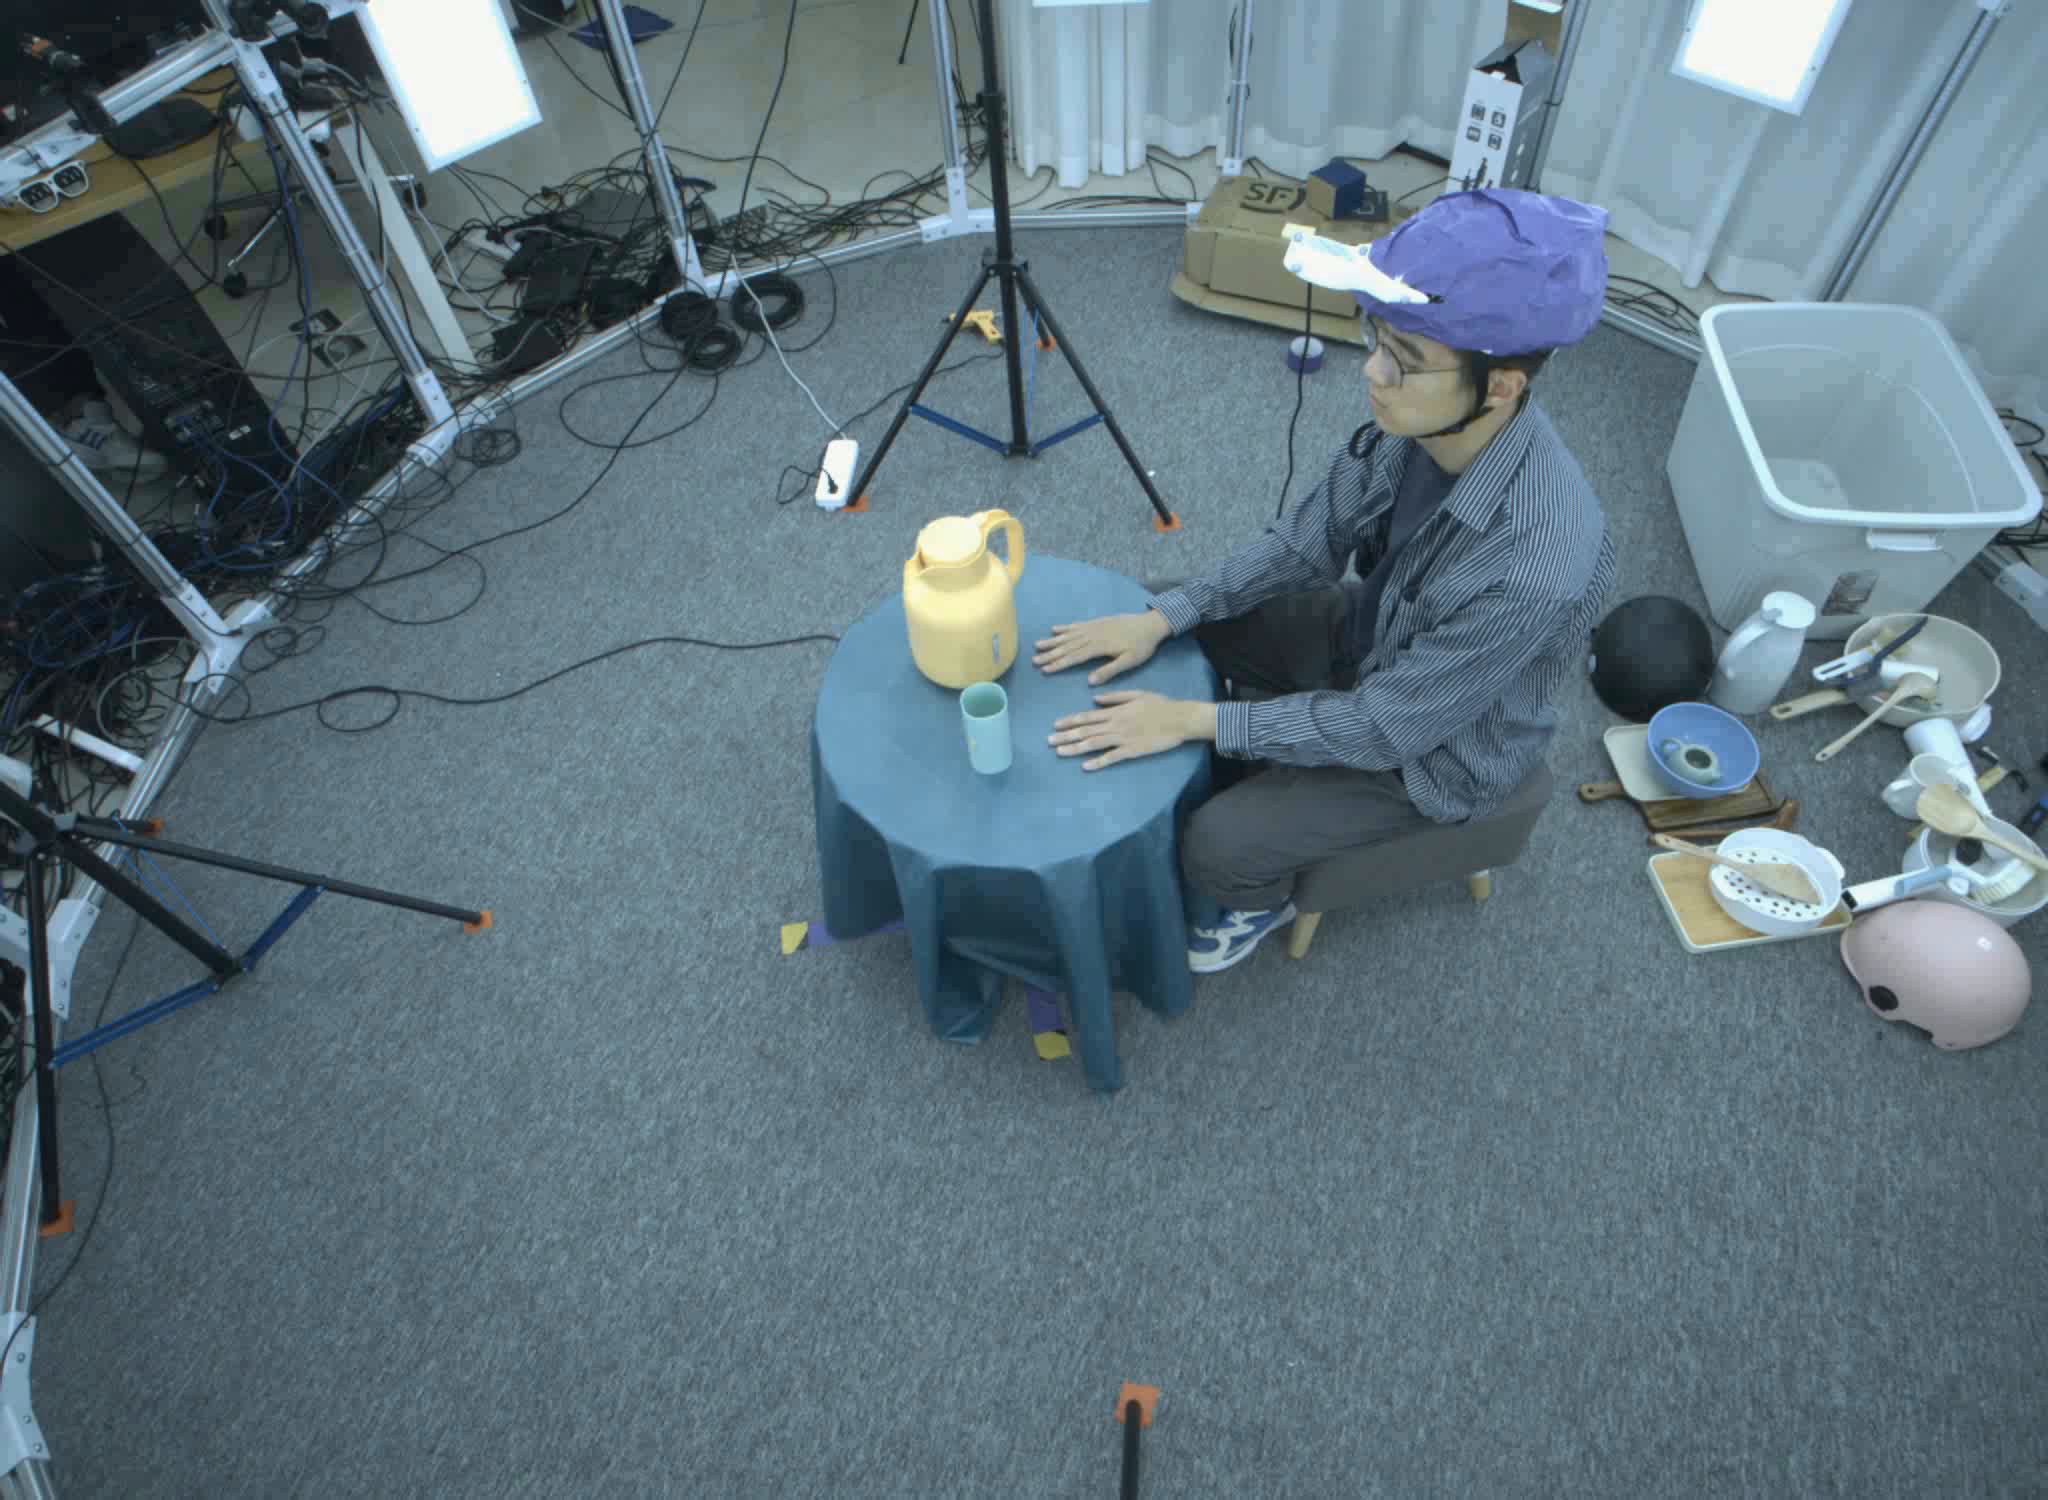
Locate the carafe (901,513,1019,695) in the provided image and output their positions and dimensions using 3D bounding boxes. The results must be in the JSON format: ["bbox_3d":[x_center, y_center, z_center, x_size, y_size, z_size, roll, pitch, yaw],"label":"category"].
[{"bbox_3d":[-0.083,-0.221,1.789,0.160,0.263,0.204,38,65,25],"label":"carafe"}]

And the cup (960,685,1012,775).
[{"bbox_3d":[-0.051,-0.027,1.736,0.066,0.134,0.066,-1,54,3],"label":"cup"}]
